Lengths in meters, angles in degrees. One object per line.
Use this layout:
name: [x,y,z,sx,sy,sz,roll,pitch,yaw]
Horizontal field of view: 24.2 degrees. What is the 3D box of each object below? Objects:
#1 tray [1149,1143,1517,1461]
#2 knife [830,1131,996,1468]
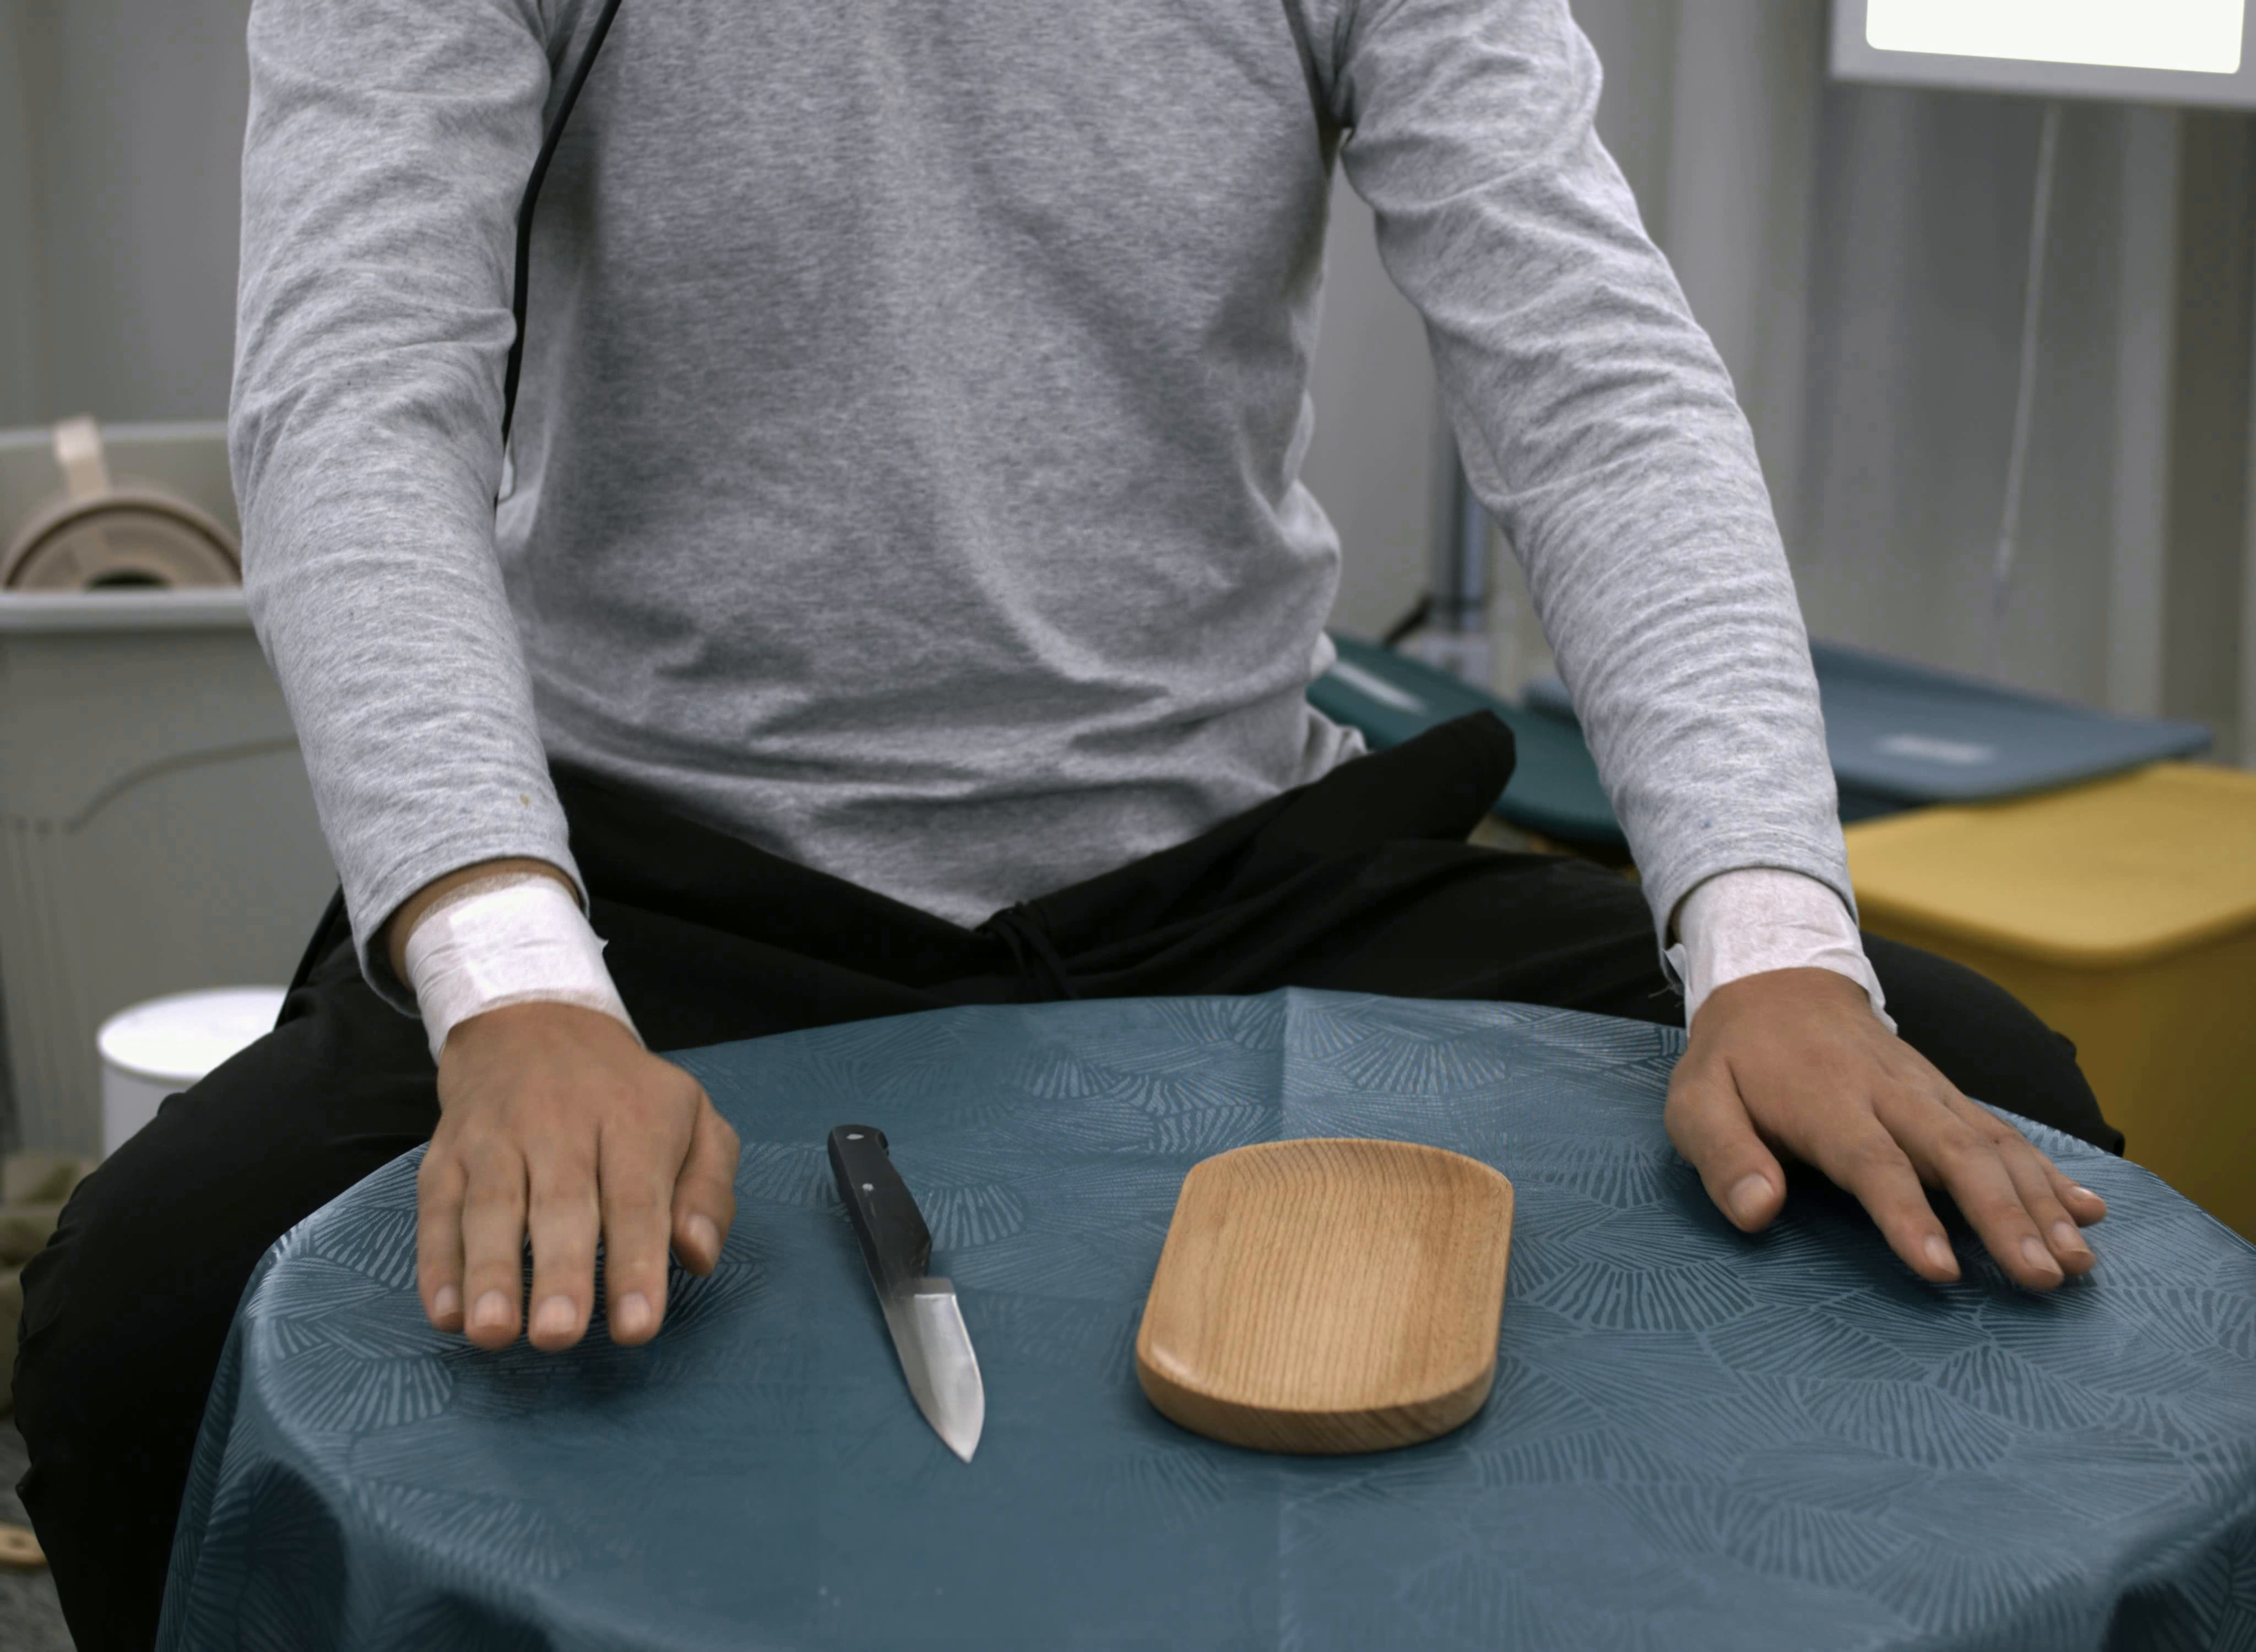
tray: [0.061,0.134,1.519,0.101,0.020,0.230,0,16,4]
knife: [-0.063,0.135,1.519,0.024,0.016,0.236,0,18,-11]
